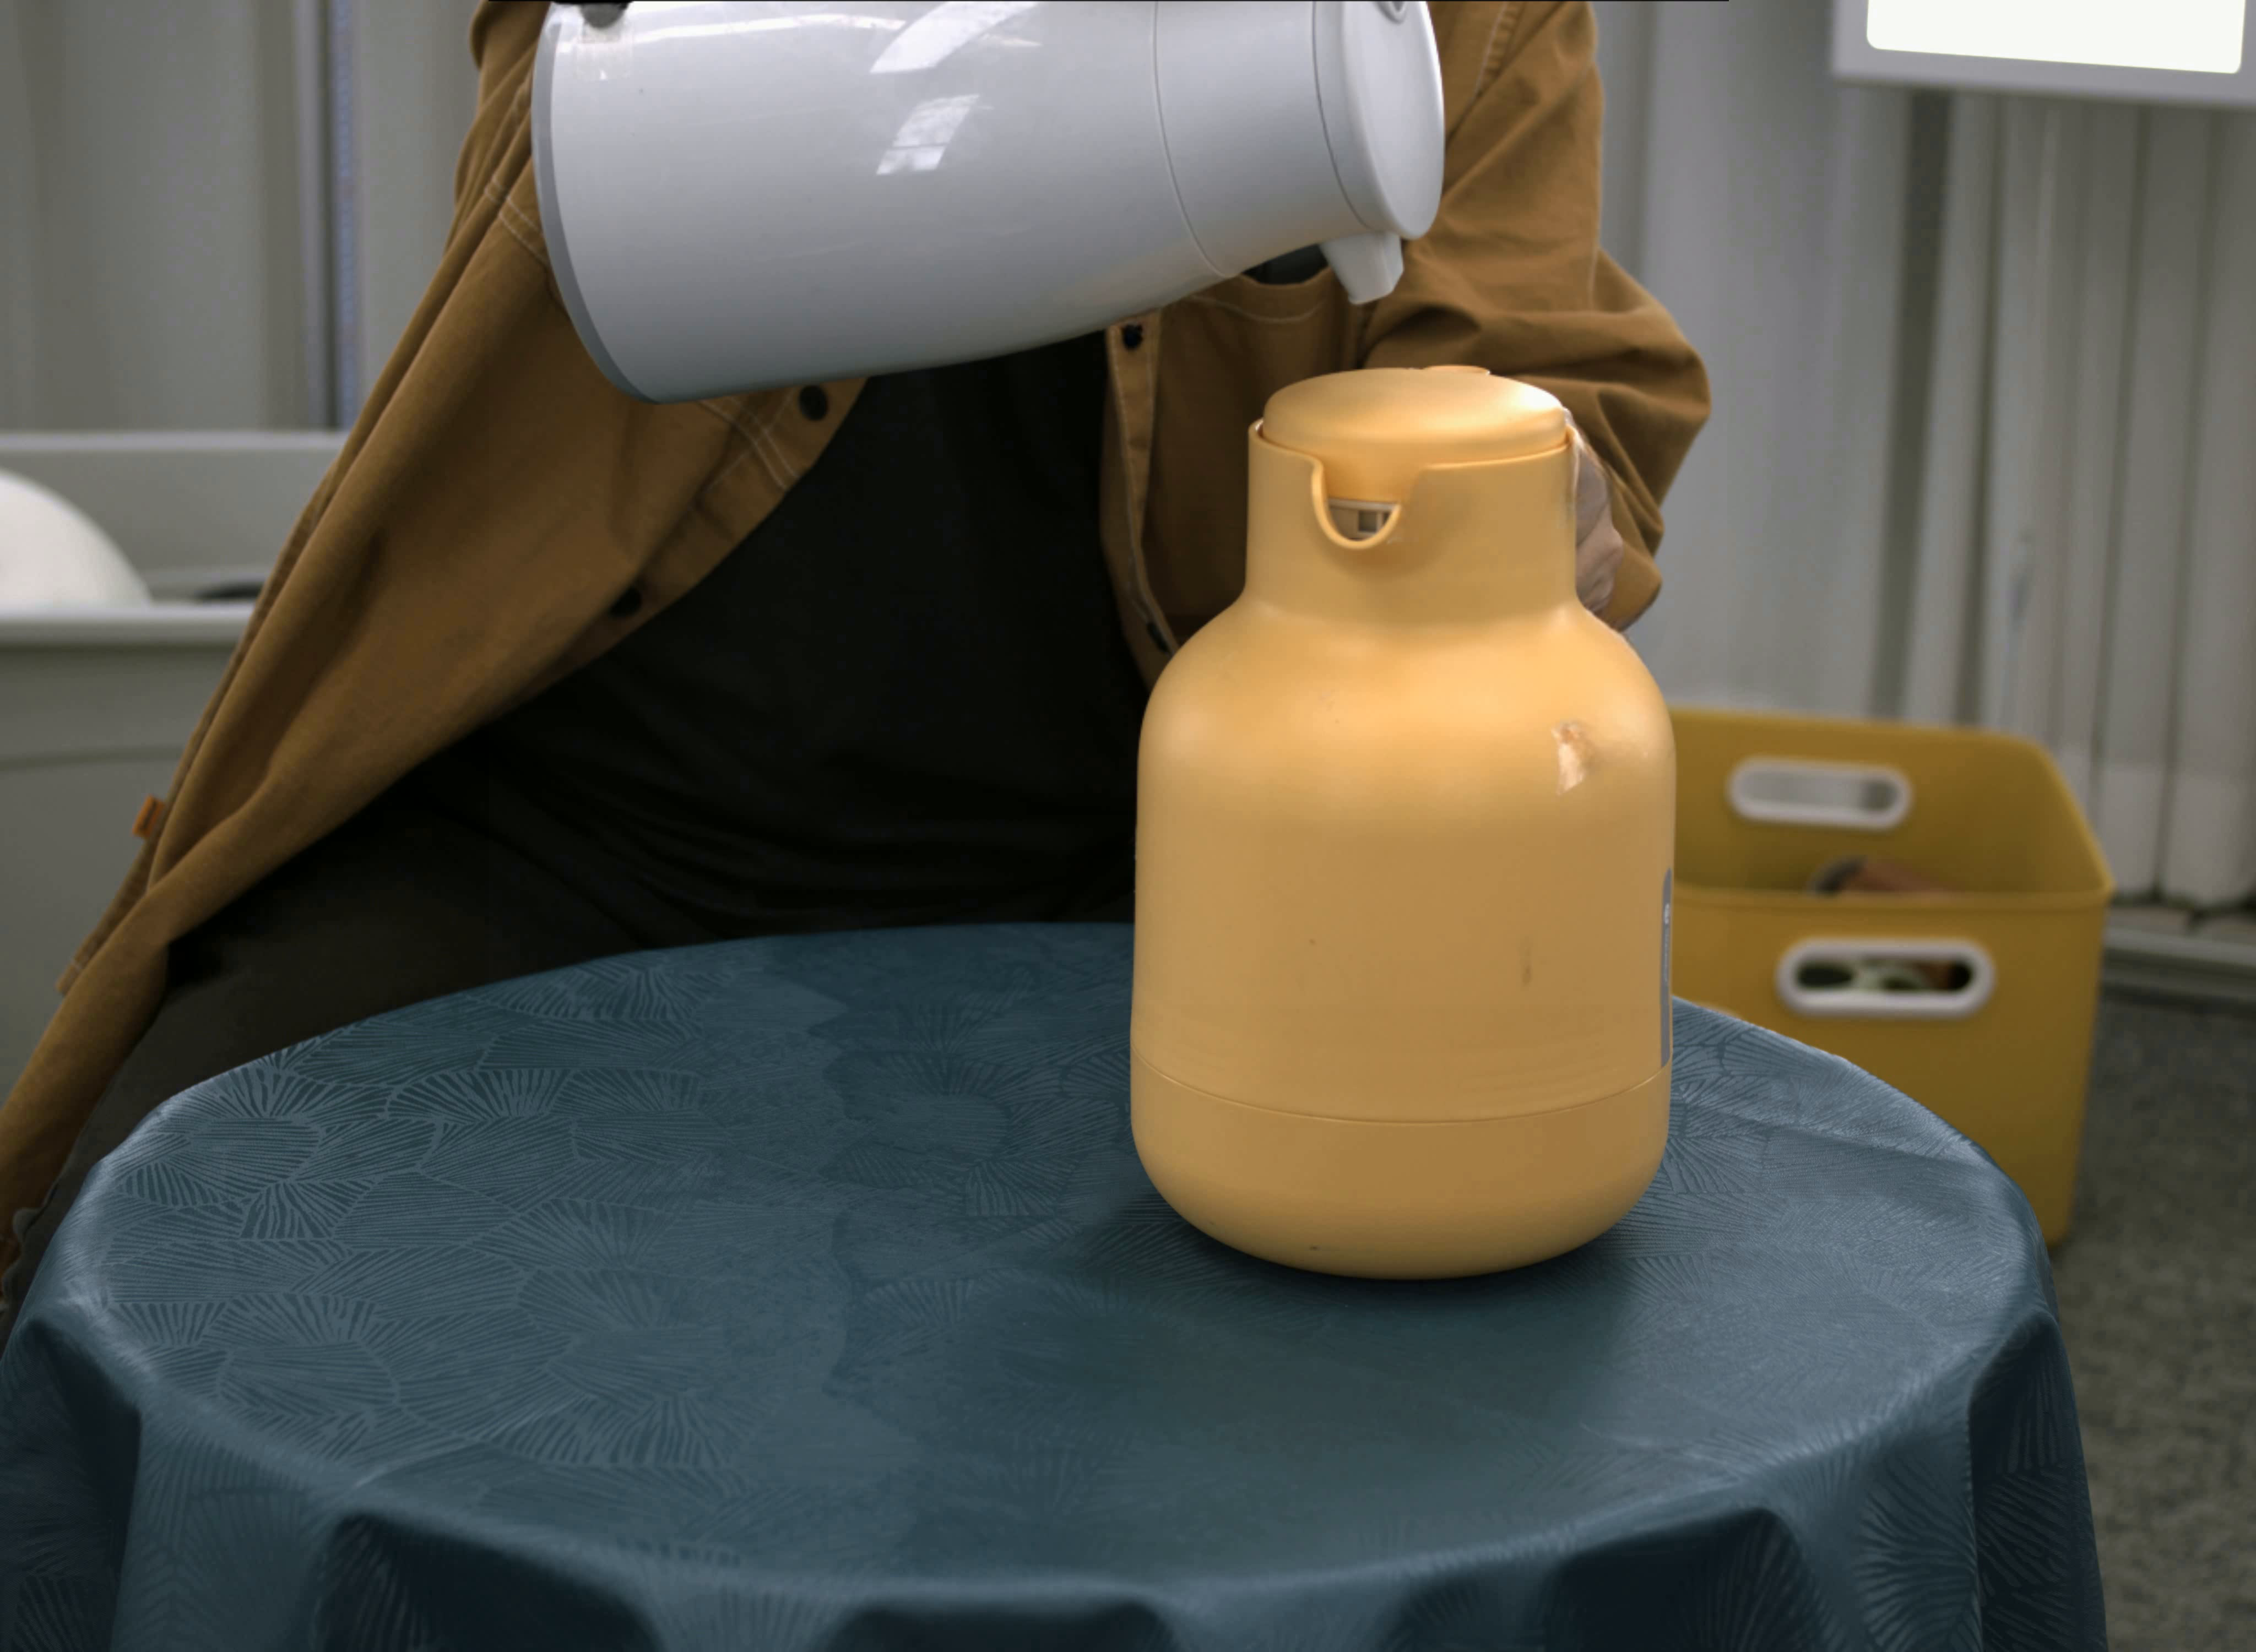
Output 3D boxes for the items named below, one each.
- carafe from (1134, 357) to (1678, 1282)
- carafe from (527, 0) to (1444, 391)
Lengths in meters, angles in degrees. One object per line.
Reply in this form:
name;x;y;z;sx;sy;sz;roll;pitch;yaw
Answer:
carafe;0.090;-0.010;1.581;0.162;0.262;0.202;7;18;17
carafe;-0.038;-0.218;1.507;0.246;0.170;0.132;-4;29;19
